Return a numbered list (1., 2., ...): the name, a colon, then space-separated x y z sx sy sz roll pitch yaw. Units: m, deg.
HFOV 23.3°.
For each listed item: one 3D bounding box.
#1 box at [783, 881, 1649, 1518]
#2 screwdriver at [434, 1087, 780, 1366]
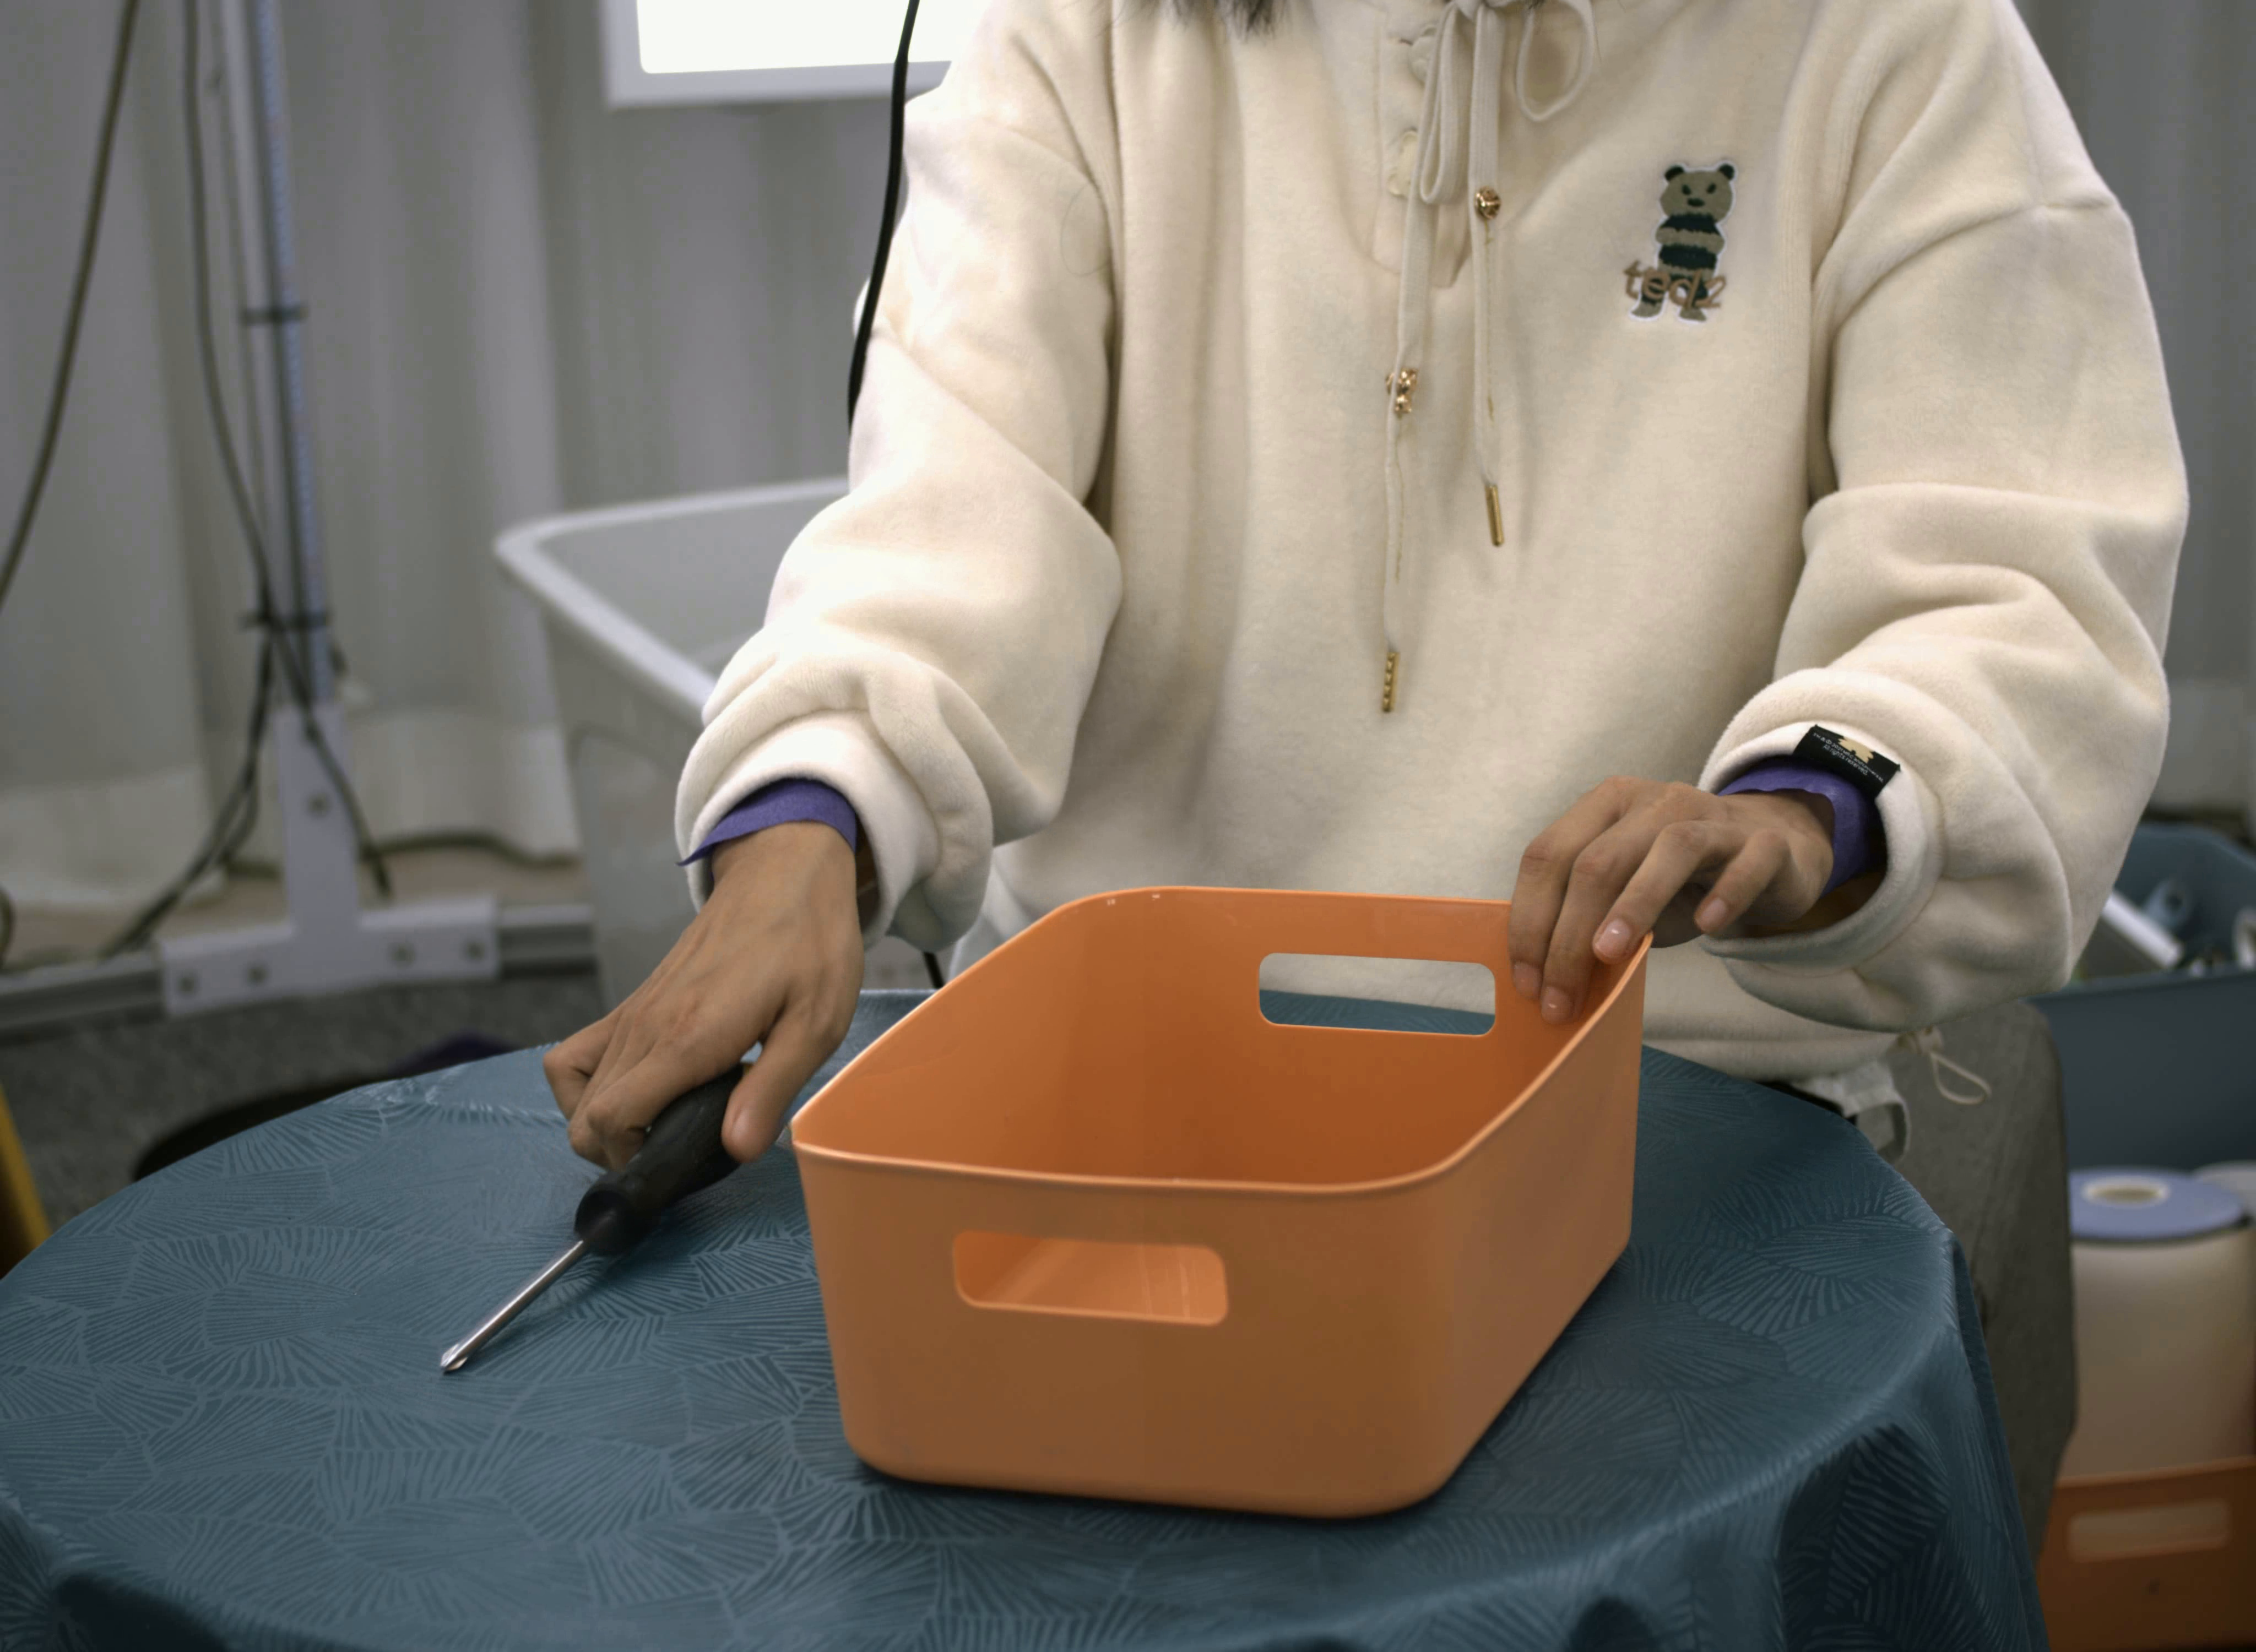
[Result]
1. box: 0.035 0.102 1.552 0.199 0.102 0.274 2 16 20
2. screwdriver: -0.161 0.126 1.667 0.031 0.031 0.197 5 23 27
